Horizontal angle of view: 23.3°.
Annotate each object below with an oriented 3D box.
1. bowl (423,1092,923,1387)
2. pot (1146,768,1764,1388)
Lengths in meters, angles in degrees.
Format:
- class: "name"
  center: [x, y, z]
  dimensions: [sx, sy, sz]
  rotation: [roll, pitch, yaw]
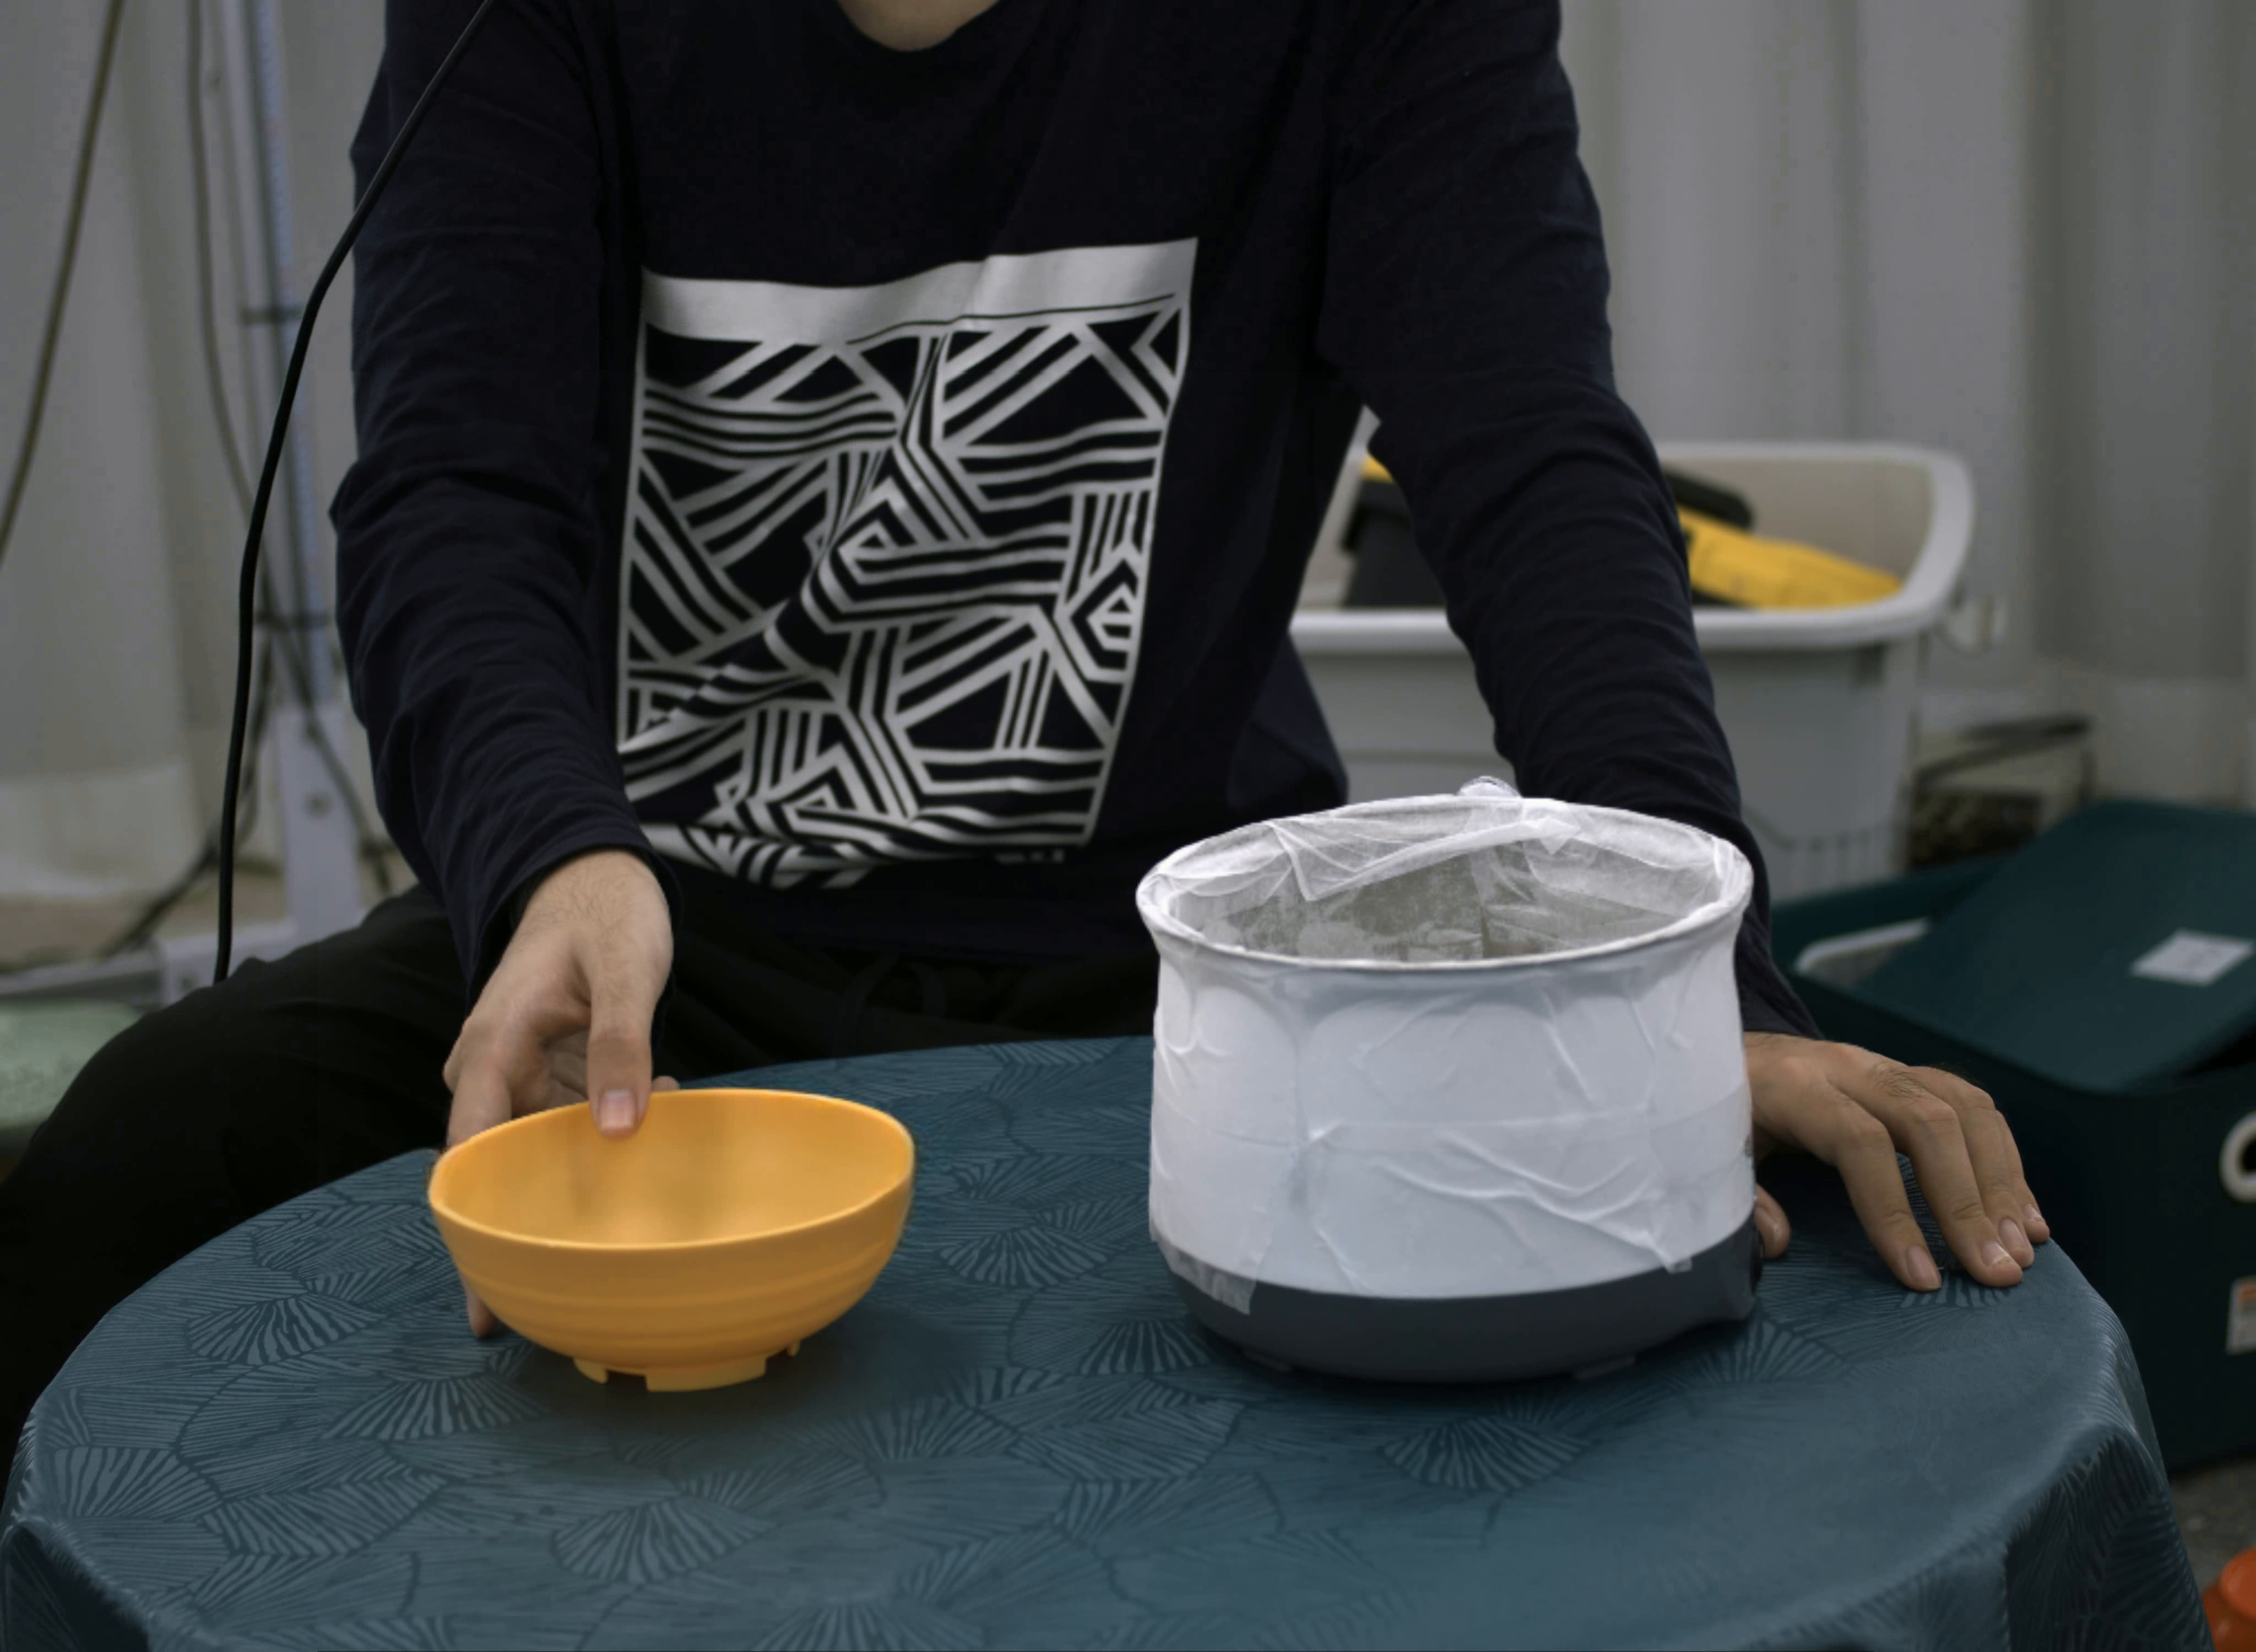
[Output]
- class: "bowl"
  center: [-0.129, 0.125, 1.584]
  dimensions: [0.145, 0.060, 0.146]
  rotation: [-4, 13, 1]
- class: "pot"
  center: [0.097, 0.068, 1.606]
  dimensions: [0.178, 0.136, 0.235]
  rotation: [3, 16, 9]
